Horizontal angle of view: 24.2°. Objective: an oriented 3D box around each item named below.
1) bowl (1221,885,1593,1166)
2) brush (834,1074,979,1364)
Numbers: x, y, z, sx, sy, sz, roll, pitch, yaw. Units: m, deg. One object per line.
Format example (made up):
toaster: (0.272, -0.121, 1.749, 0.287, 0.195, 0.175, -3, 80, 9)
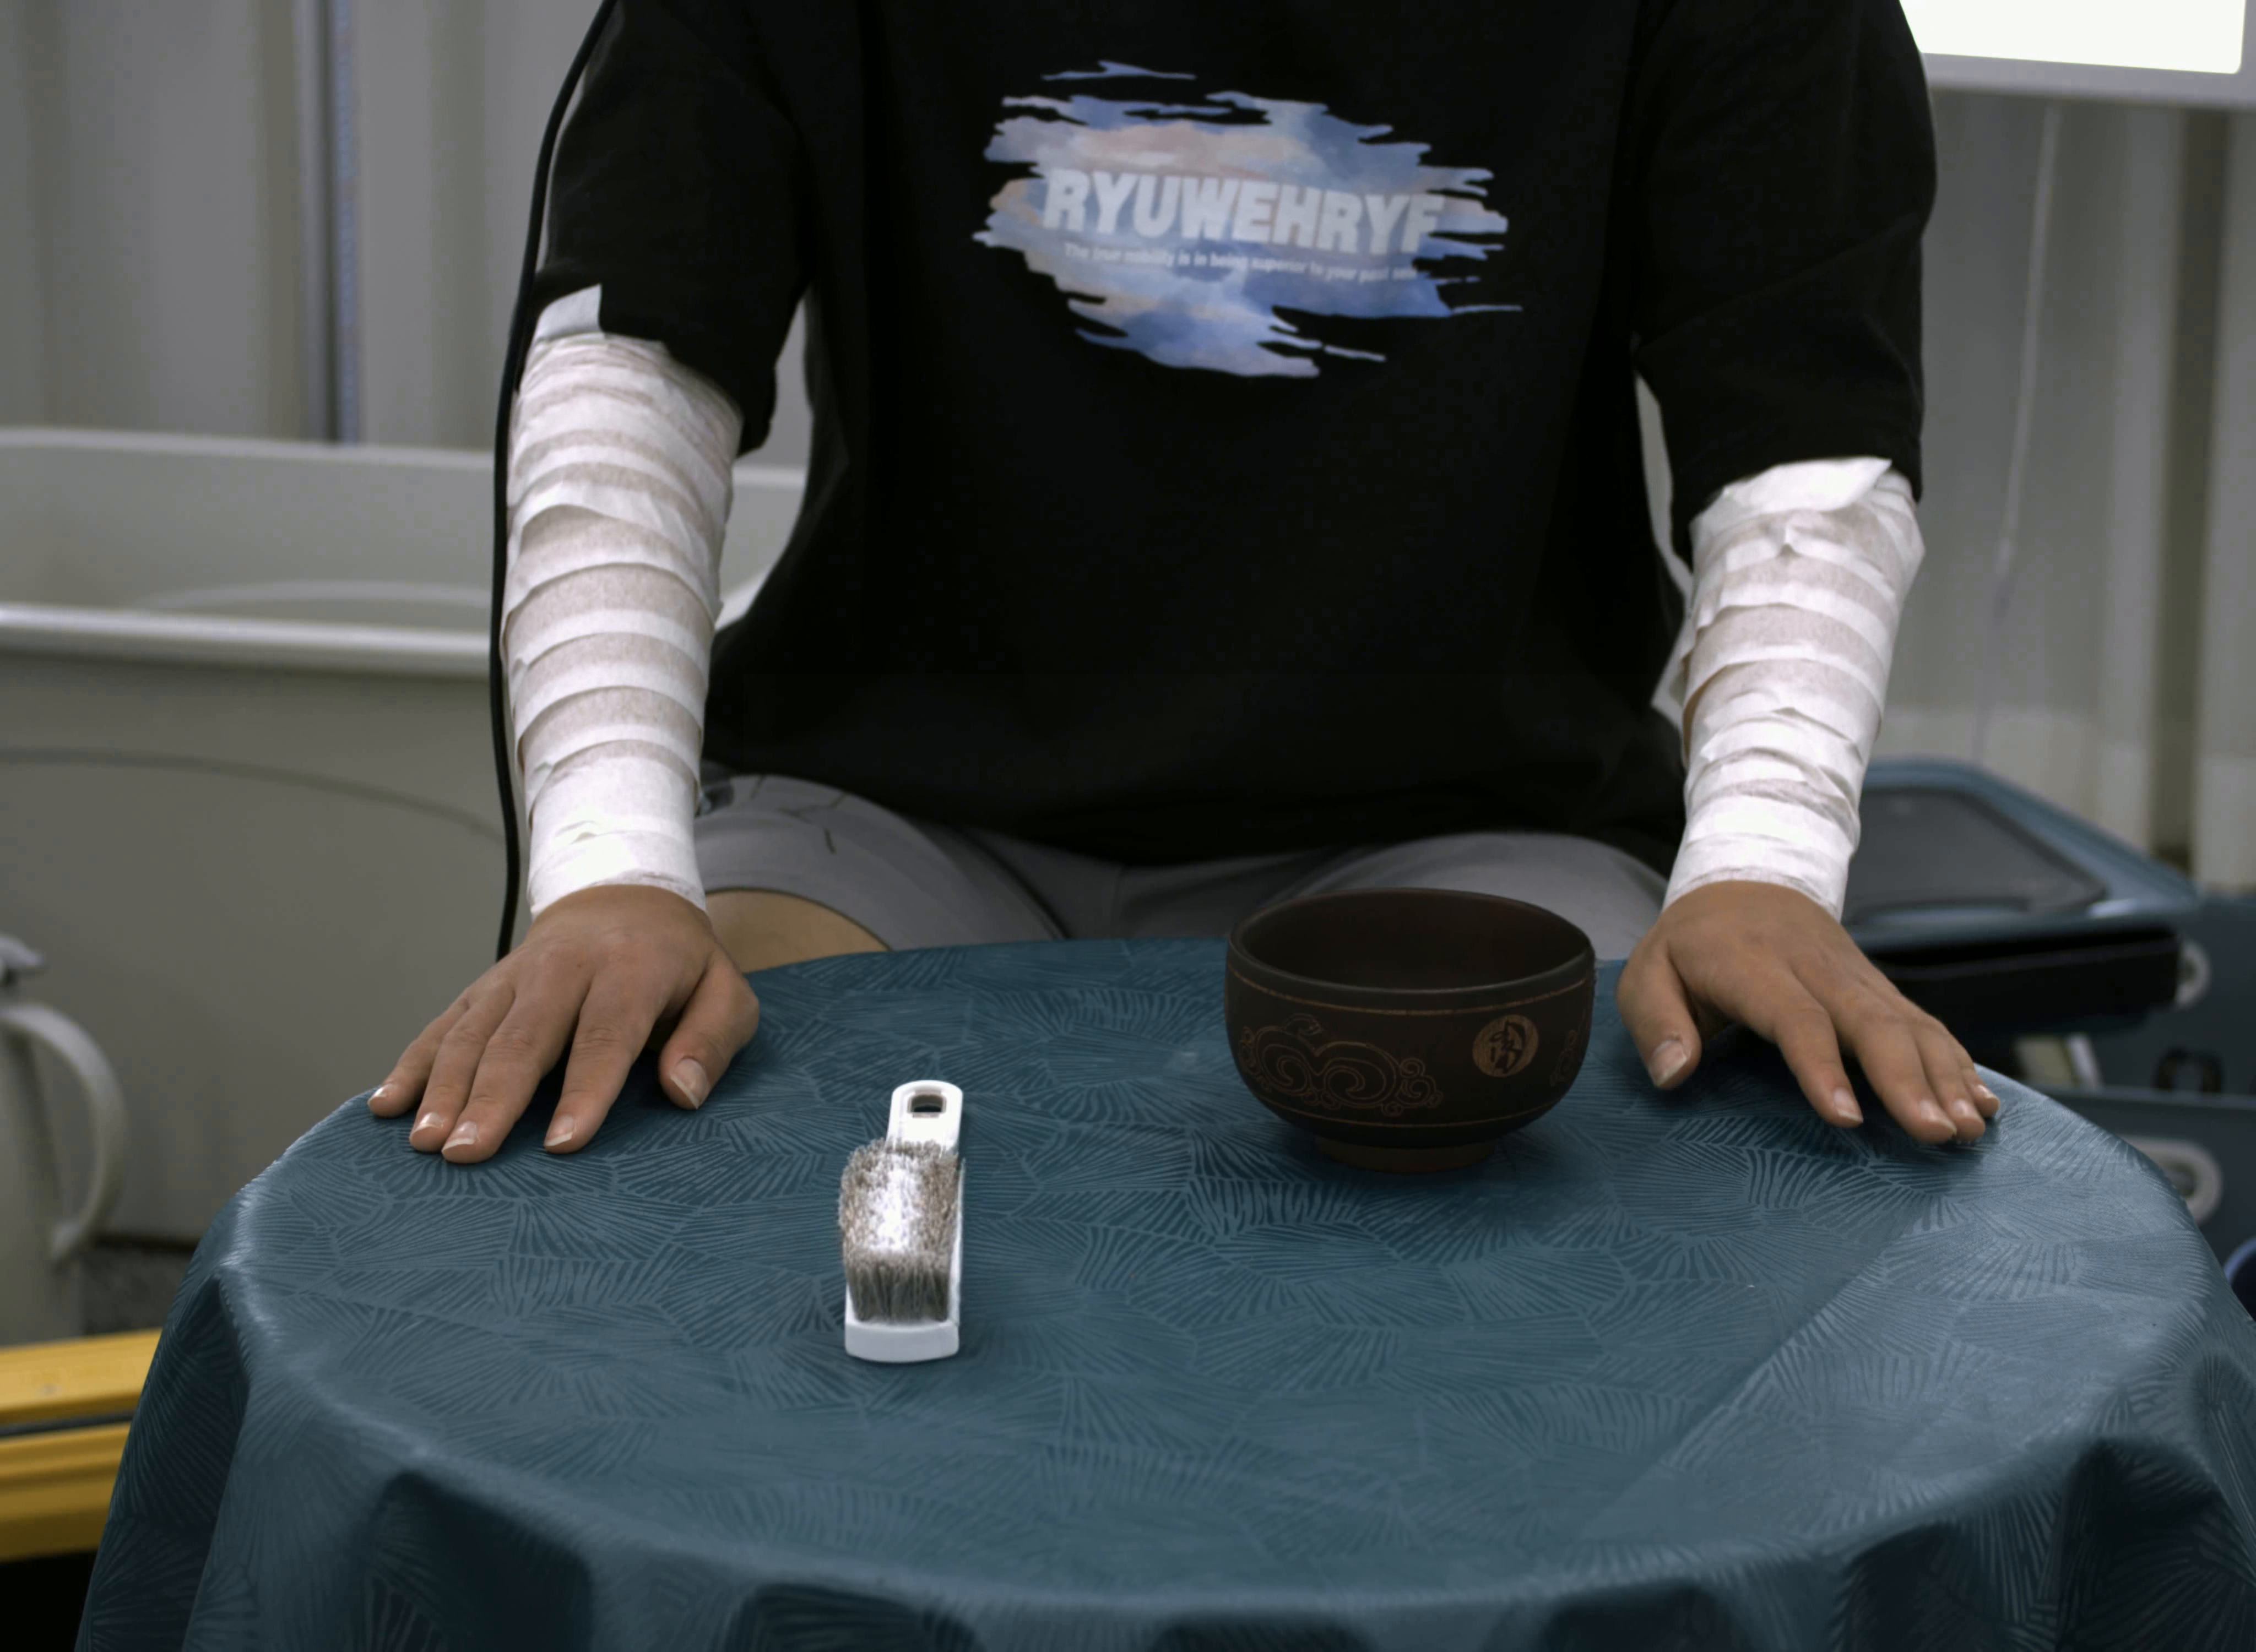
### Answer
bowl: (0.088, 0.066, 1.659, 0.117, 0.070, 0.117, -1, 14, 1)
brush: (-0.063, 0.097, 1.578, 0.034, 0.050, 0.242, 1, 16, 2)
